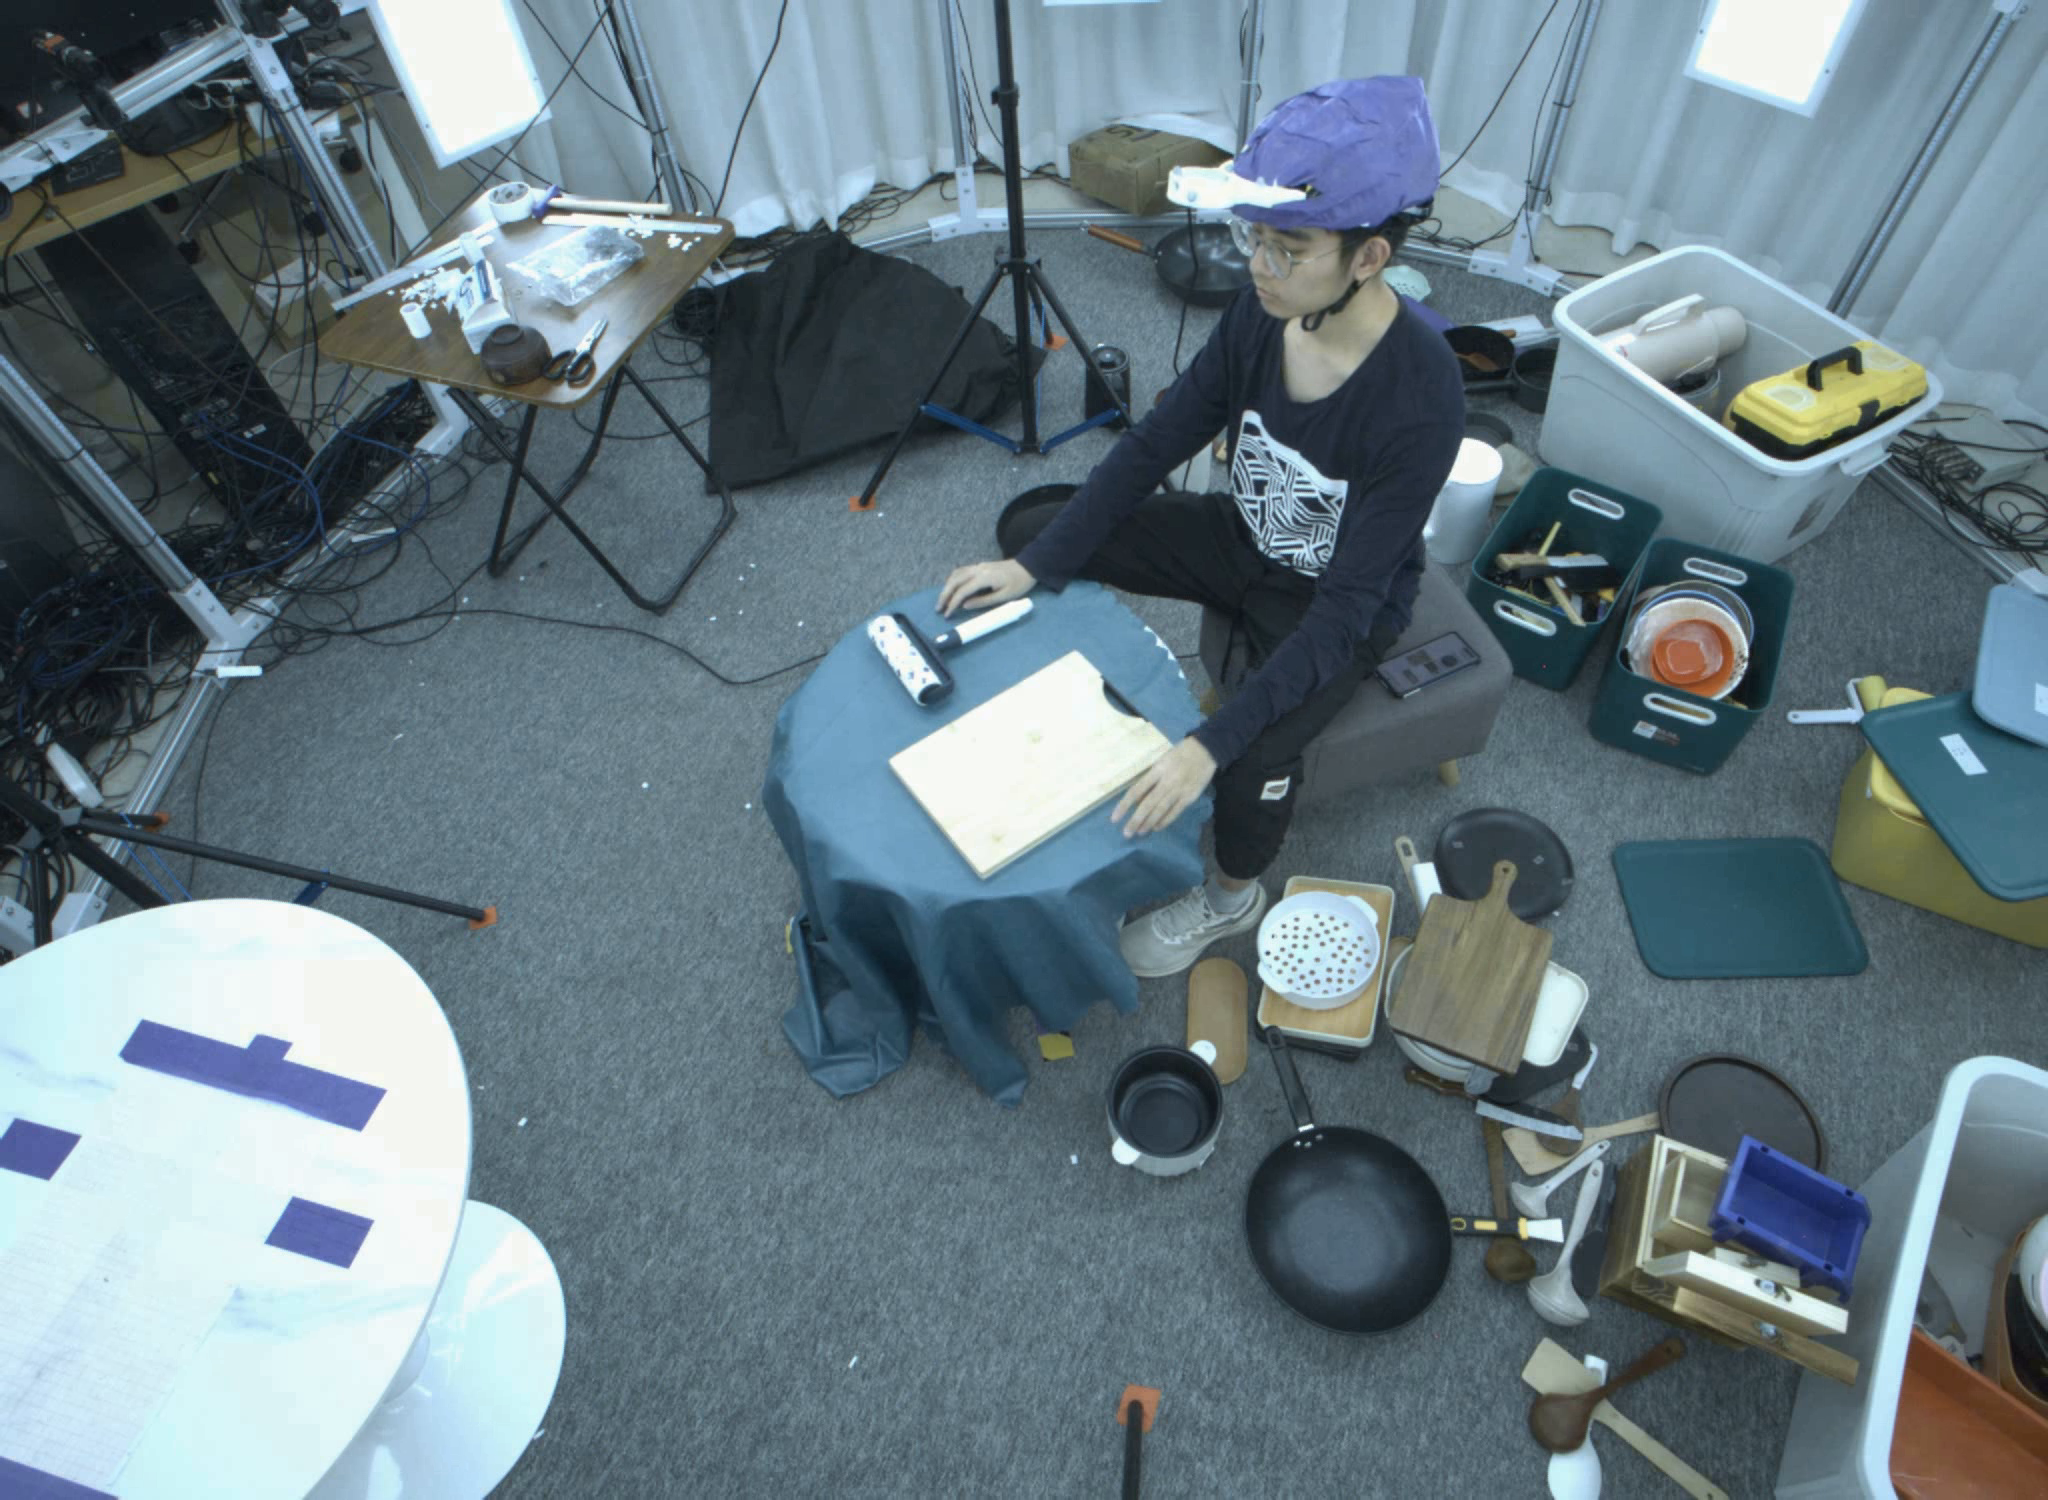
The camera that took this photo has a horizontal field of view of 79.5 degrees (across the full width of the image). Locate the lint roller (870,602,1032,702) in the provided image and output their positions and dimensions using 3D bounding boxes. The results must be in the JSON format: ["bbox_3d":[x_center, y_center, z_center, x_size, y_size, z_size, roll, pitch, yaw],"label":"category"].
[{"bbox_3d":[-0.096,-0.183,1.903,0.249,0.051,0.173,-27,57,-20],"label":"lint roller"}]

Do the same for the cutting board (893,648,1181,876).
[{"bbox_3d":[0.015,0.008,1.780,0.351,0.024,0.246,-32,60,-20],"label":"cutting board"}]
